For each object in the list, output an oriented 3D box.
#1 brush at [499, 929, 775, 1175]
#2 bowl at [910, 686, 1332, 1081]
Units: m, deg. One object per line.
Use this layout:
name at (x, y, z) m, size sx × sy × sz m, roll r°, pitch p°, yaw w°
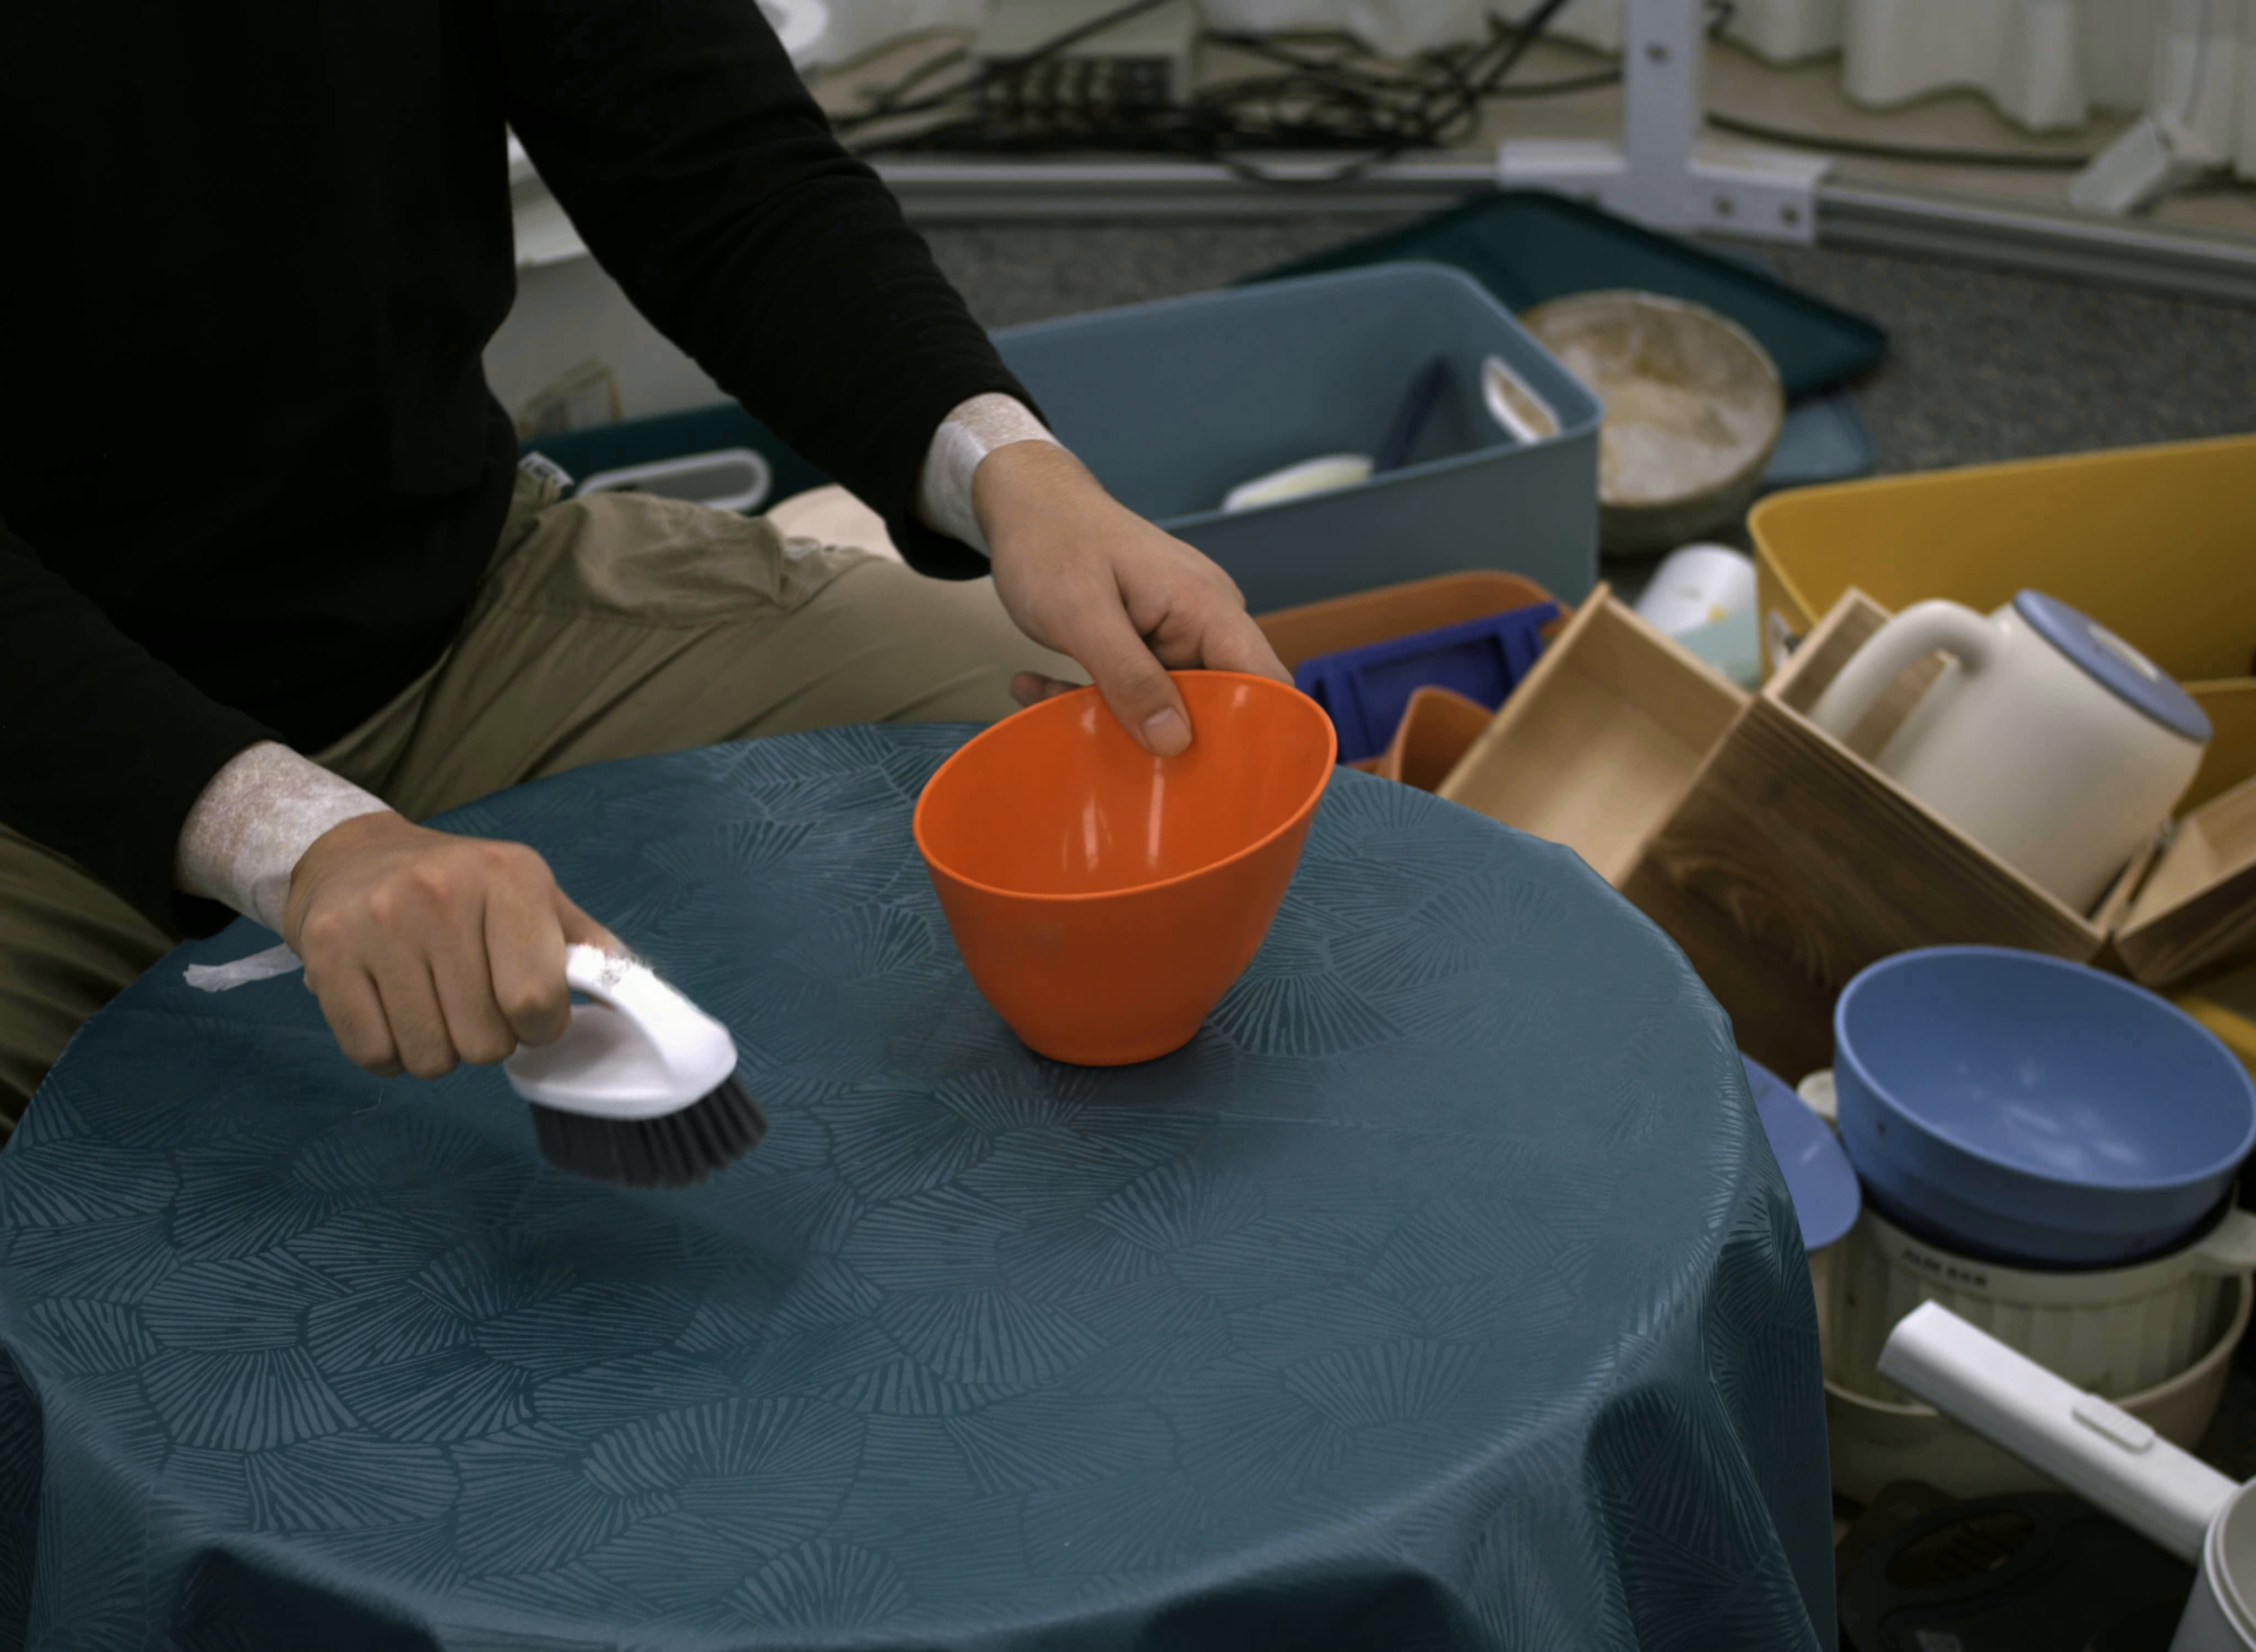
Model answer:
brush at (-0.165, 0.067, 1.805) m, size 0.051 × 0.072 × 0.098 m, roll -39°, pitch 27°, yaw -30°
bowl at (0.001, 0.025, 1.943) m, size 0.147 × 0.103 × 0.150 m, roll -4°, pitch 24°, yaw 2°
